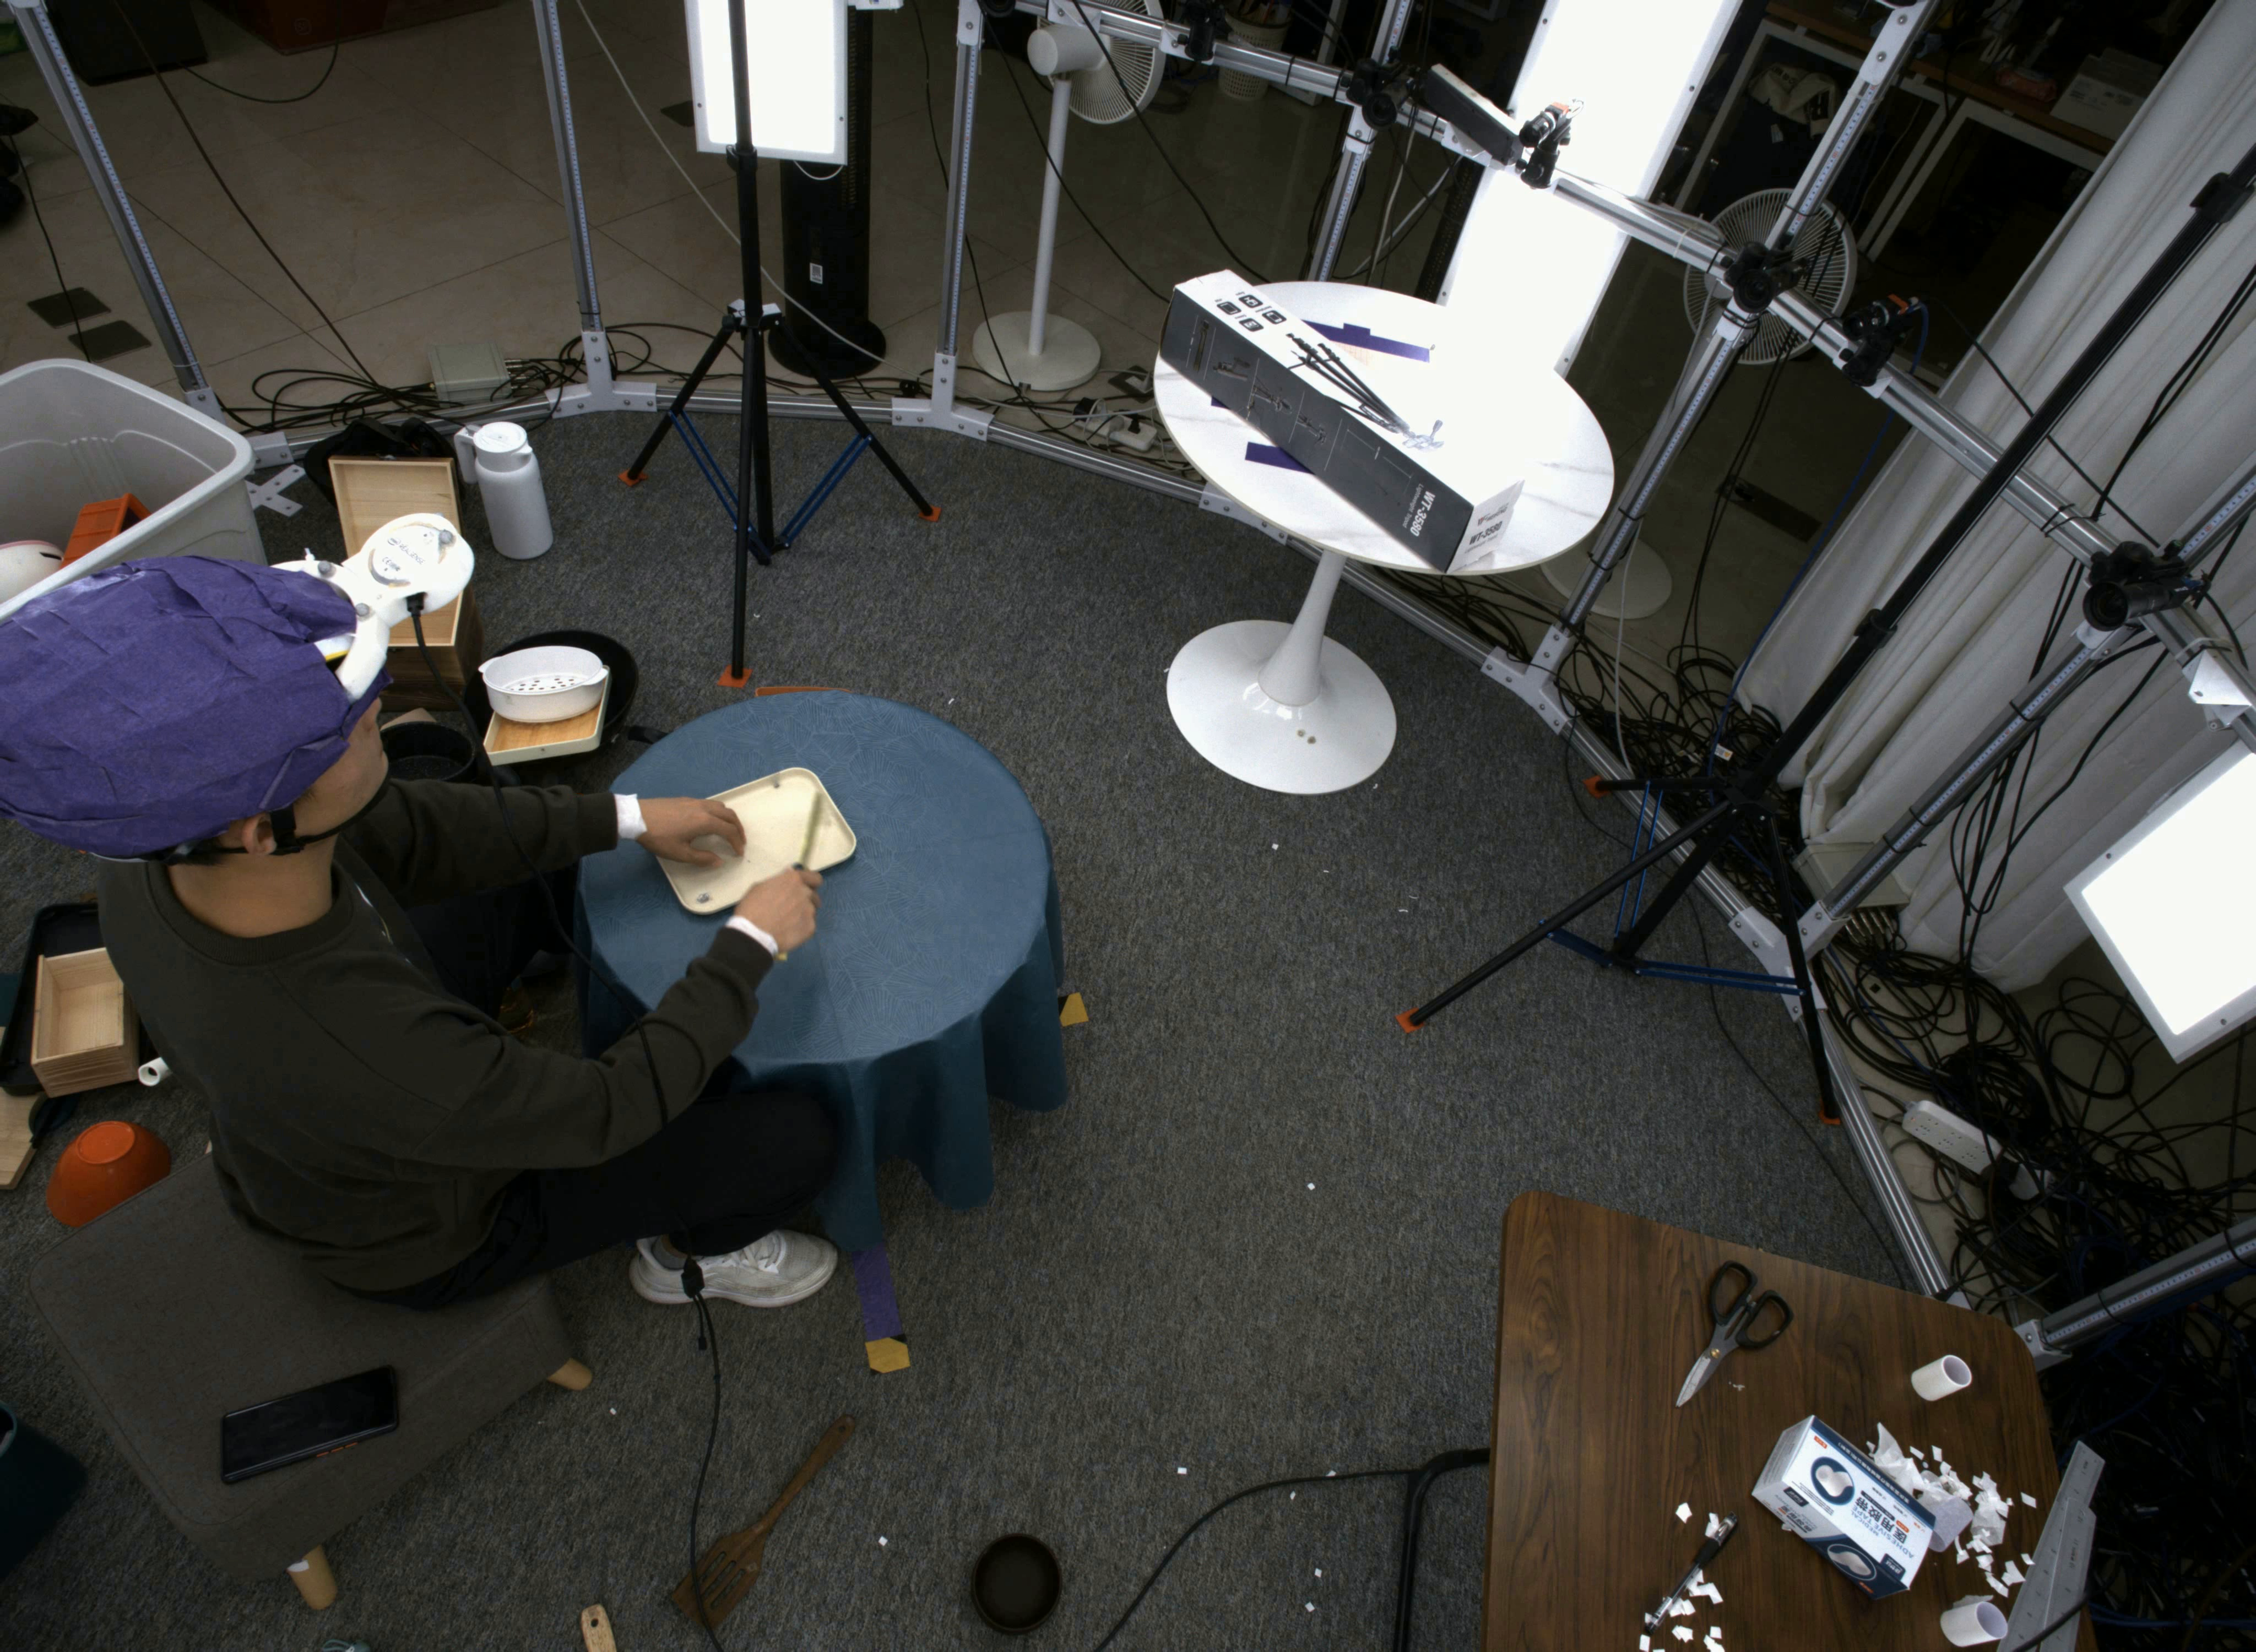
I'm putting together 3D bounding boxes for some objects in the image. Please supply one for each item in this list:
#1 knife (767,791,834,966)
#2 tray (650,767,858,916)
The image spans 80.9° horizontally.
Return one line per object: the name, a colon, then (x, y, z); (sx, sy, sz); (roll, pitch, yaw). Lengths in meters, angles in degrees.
knife: (-0.397, 0.063, 1.596); (0.027, 0.083, 0.284); (7, 46, 0)
tray: (-0.489, 0.017, 1.694); (0.241, 0.018, 0.167); (-24, 63, -28)
